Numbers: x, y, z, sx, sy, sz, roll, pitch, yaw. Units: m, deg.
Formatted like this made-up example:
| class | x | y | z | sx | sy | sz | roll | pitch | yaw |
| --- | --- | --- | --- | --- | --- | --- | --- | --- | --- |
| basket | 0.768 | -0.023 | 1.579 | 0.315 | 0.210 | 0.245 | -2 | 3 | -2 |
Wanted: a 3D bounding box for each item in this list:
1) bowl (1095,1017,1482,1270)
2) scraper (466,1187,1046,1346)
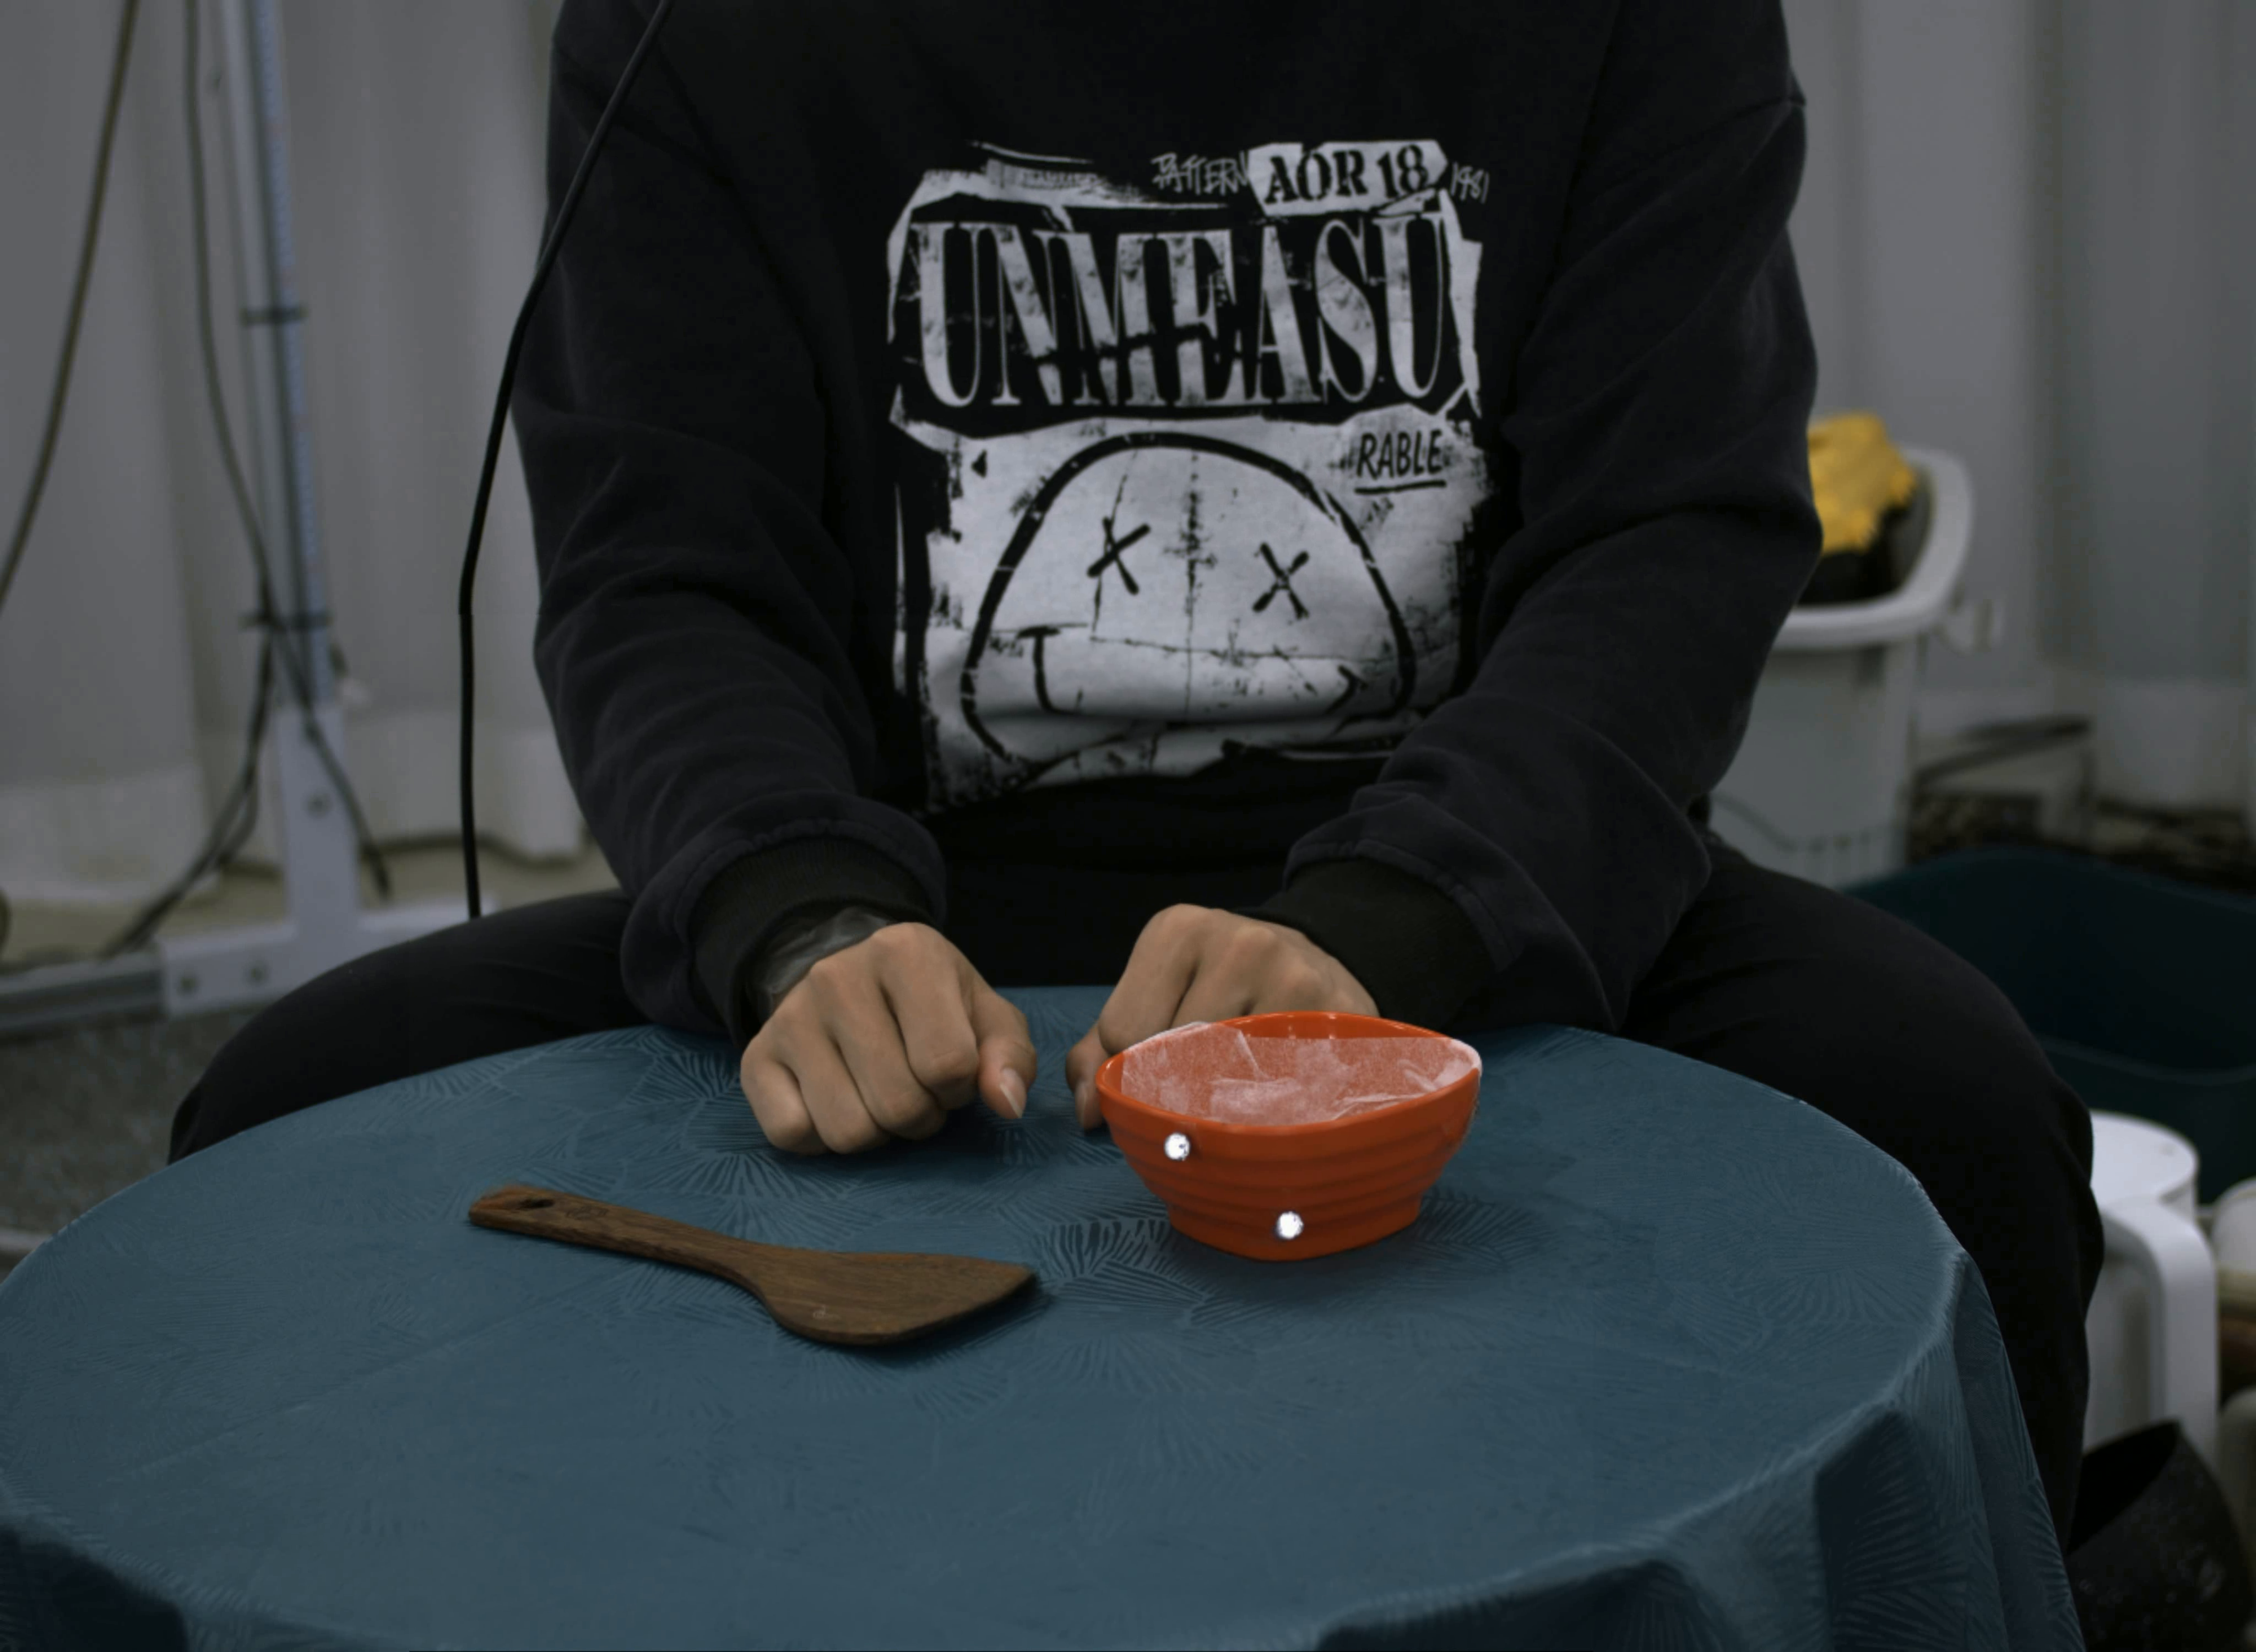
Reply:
| class | x | y | z | sx | sy | sz | roll | pitch | yaw |
| --- | --- | --- | --- | --- | --- | --- | --- | --- | --- |
| bowl | 0.050 | 0.099 | 1.674 | 0.118 | 0.051 | 0.120 | -4 | 15 | 1 |
| scraper | -0.121 | 0.131 | 1.661 | 0.212 | 0.011 | 0.076 | 9 | 18 | 39 |
